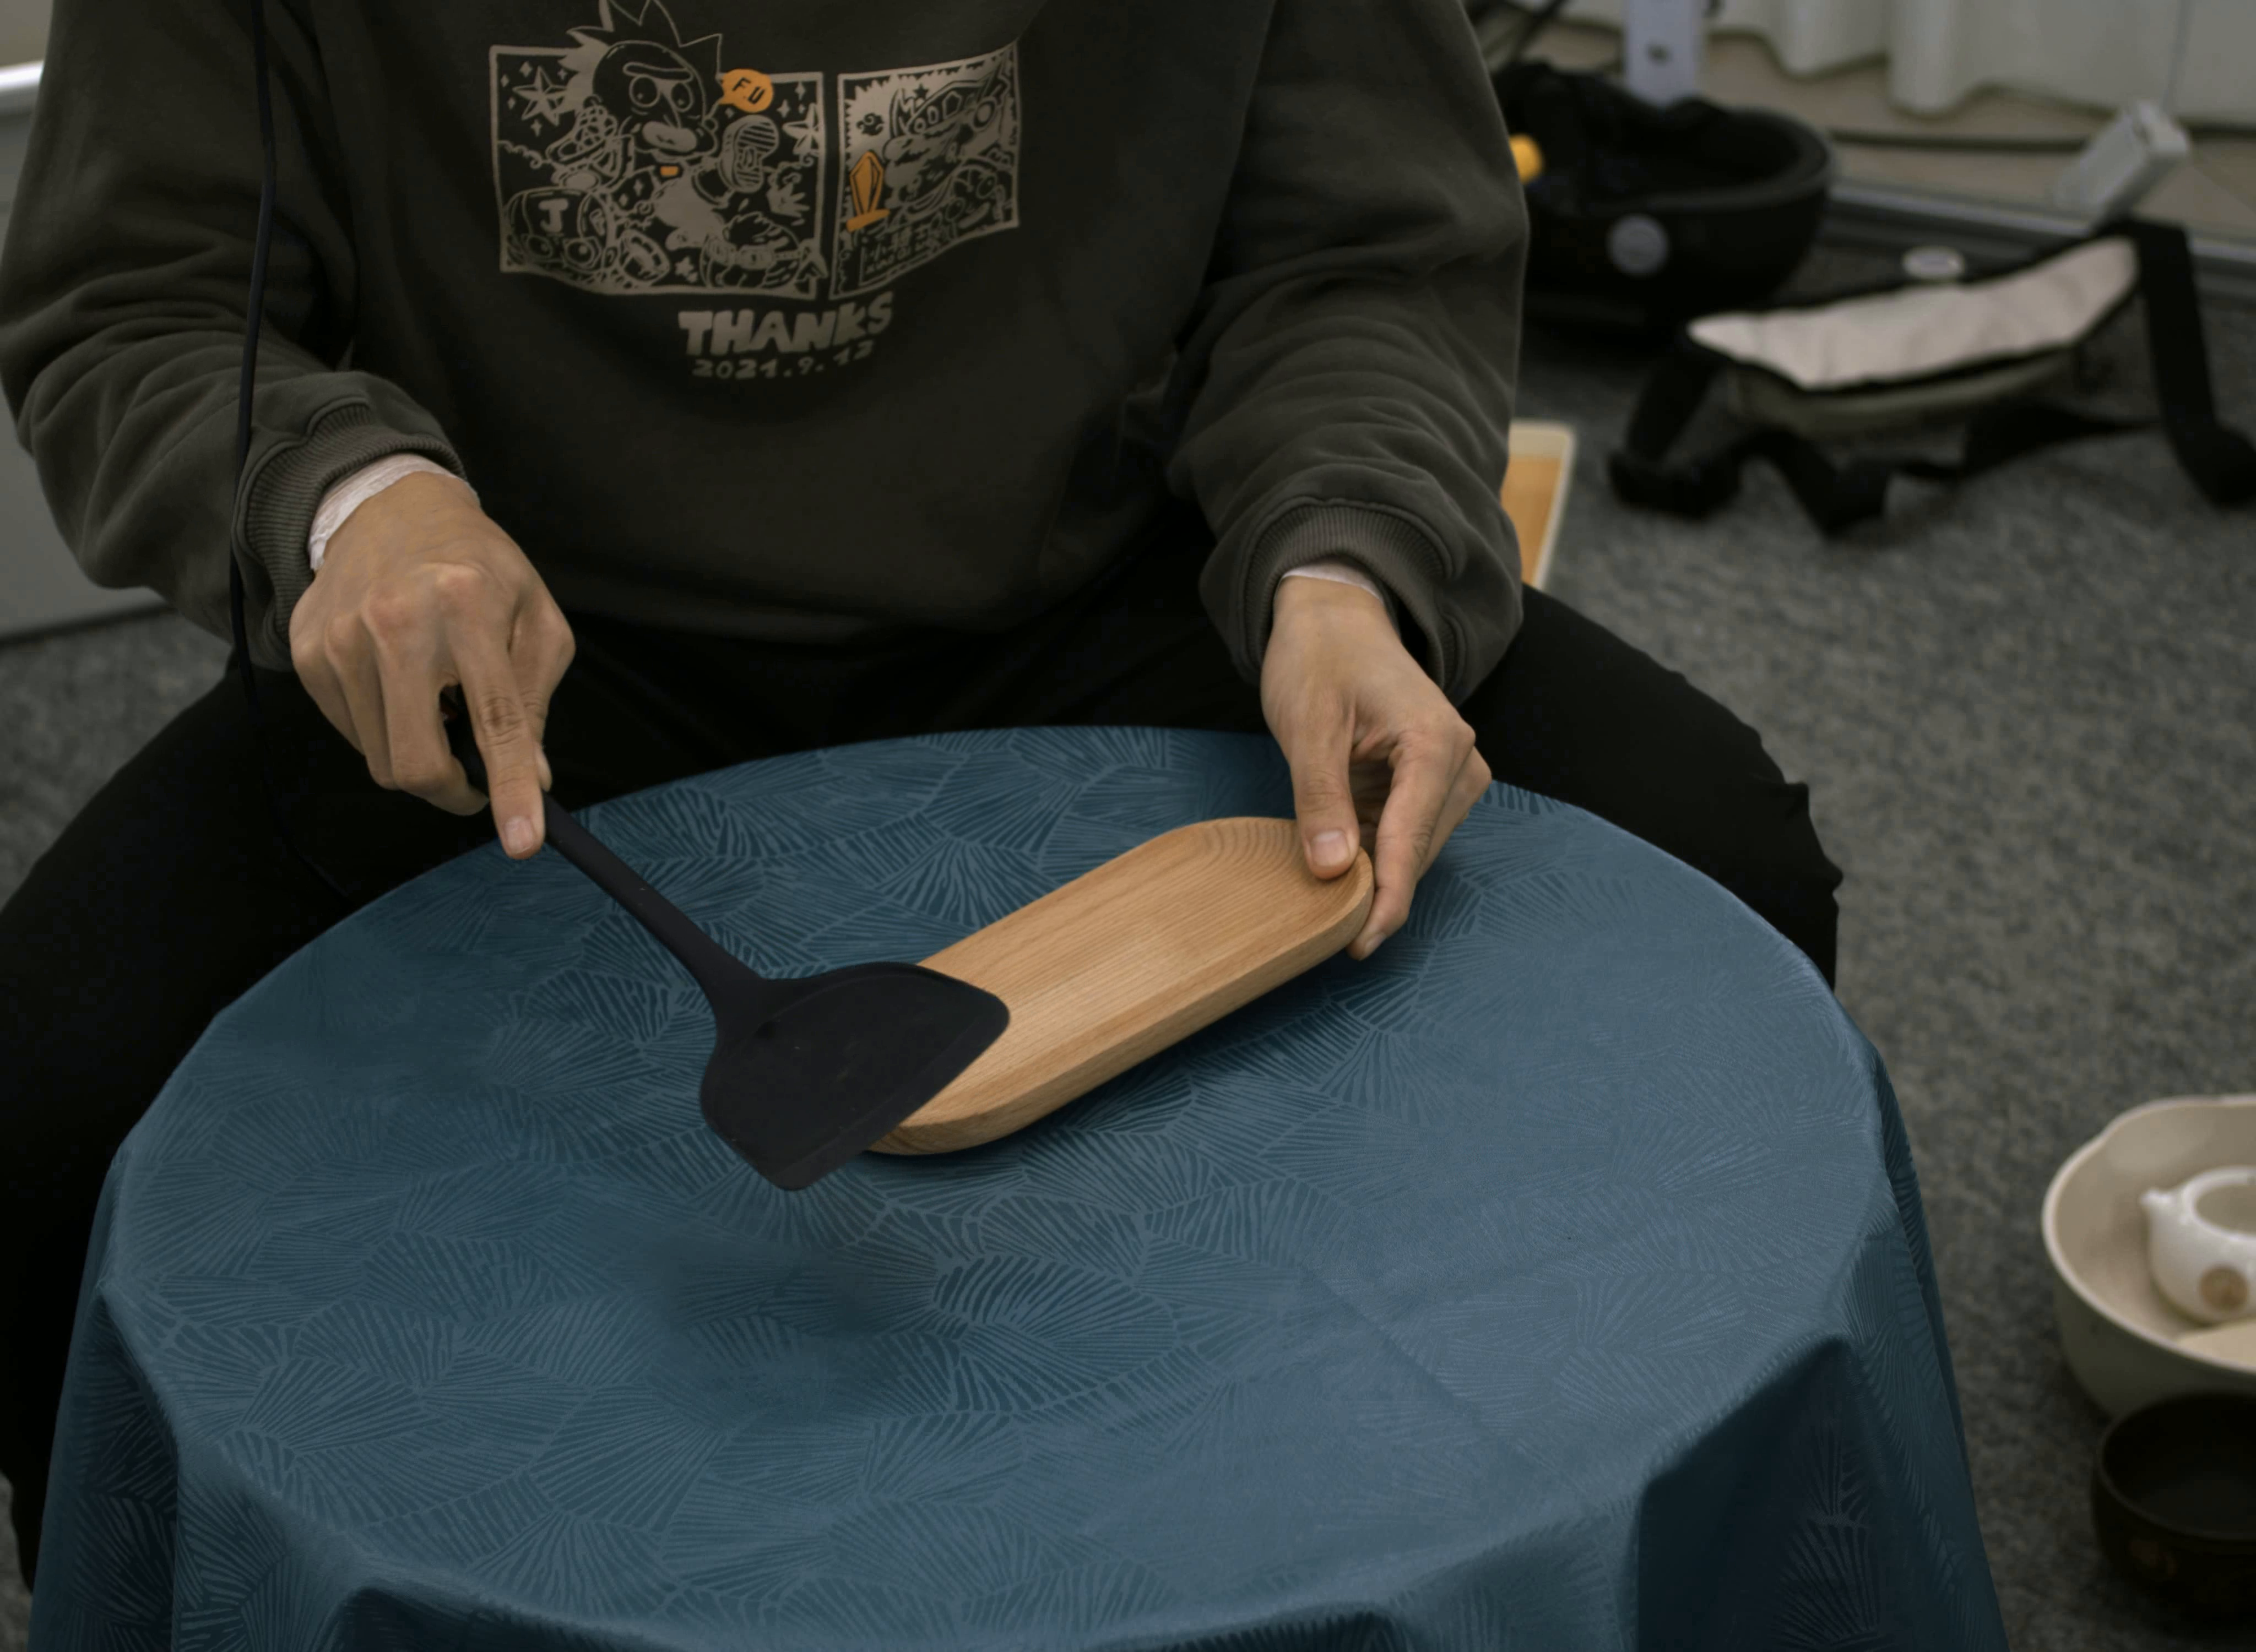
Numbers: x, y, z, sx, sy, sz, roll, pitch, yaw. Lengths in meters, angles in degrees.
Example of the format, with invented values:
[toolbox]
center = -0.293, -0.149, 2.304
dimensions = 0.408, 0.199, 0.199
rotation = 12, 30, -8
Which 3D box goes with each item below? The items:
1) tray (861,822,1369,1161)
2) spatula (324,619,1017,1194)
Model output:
[tray]
center = -0.015, 0.056, 1.951
dimensions = 0.233, 0.020, 0.101
rotation = -29, 34, -30
[spatula]
center = -0.170, 0.012, 1.861
dimensions = 0.101, 0.040, 0.327
rotation = -36, 57, -22
